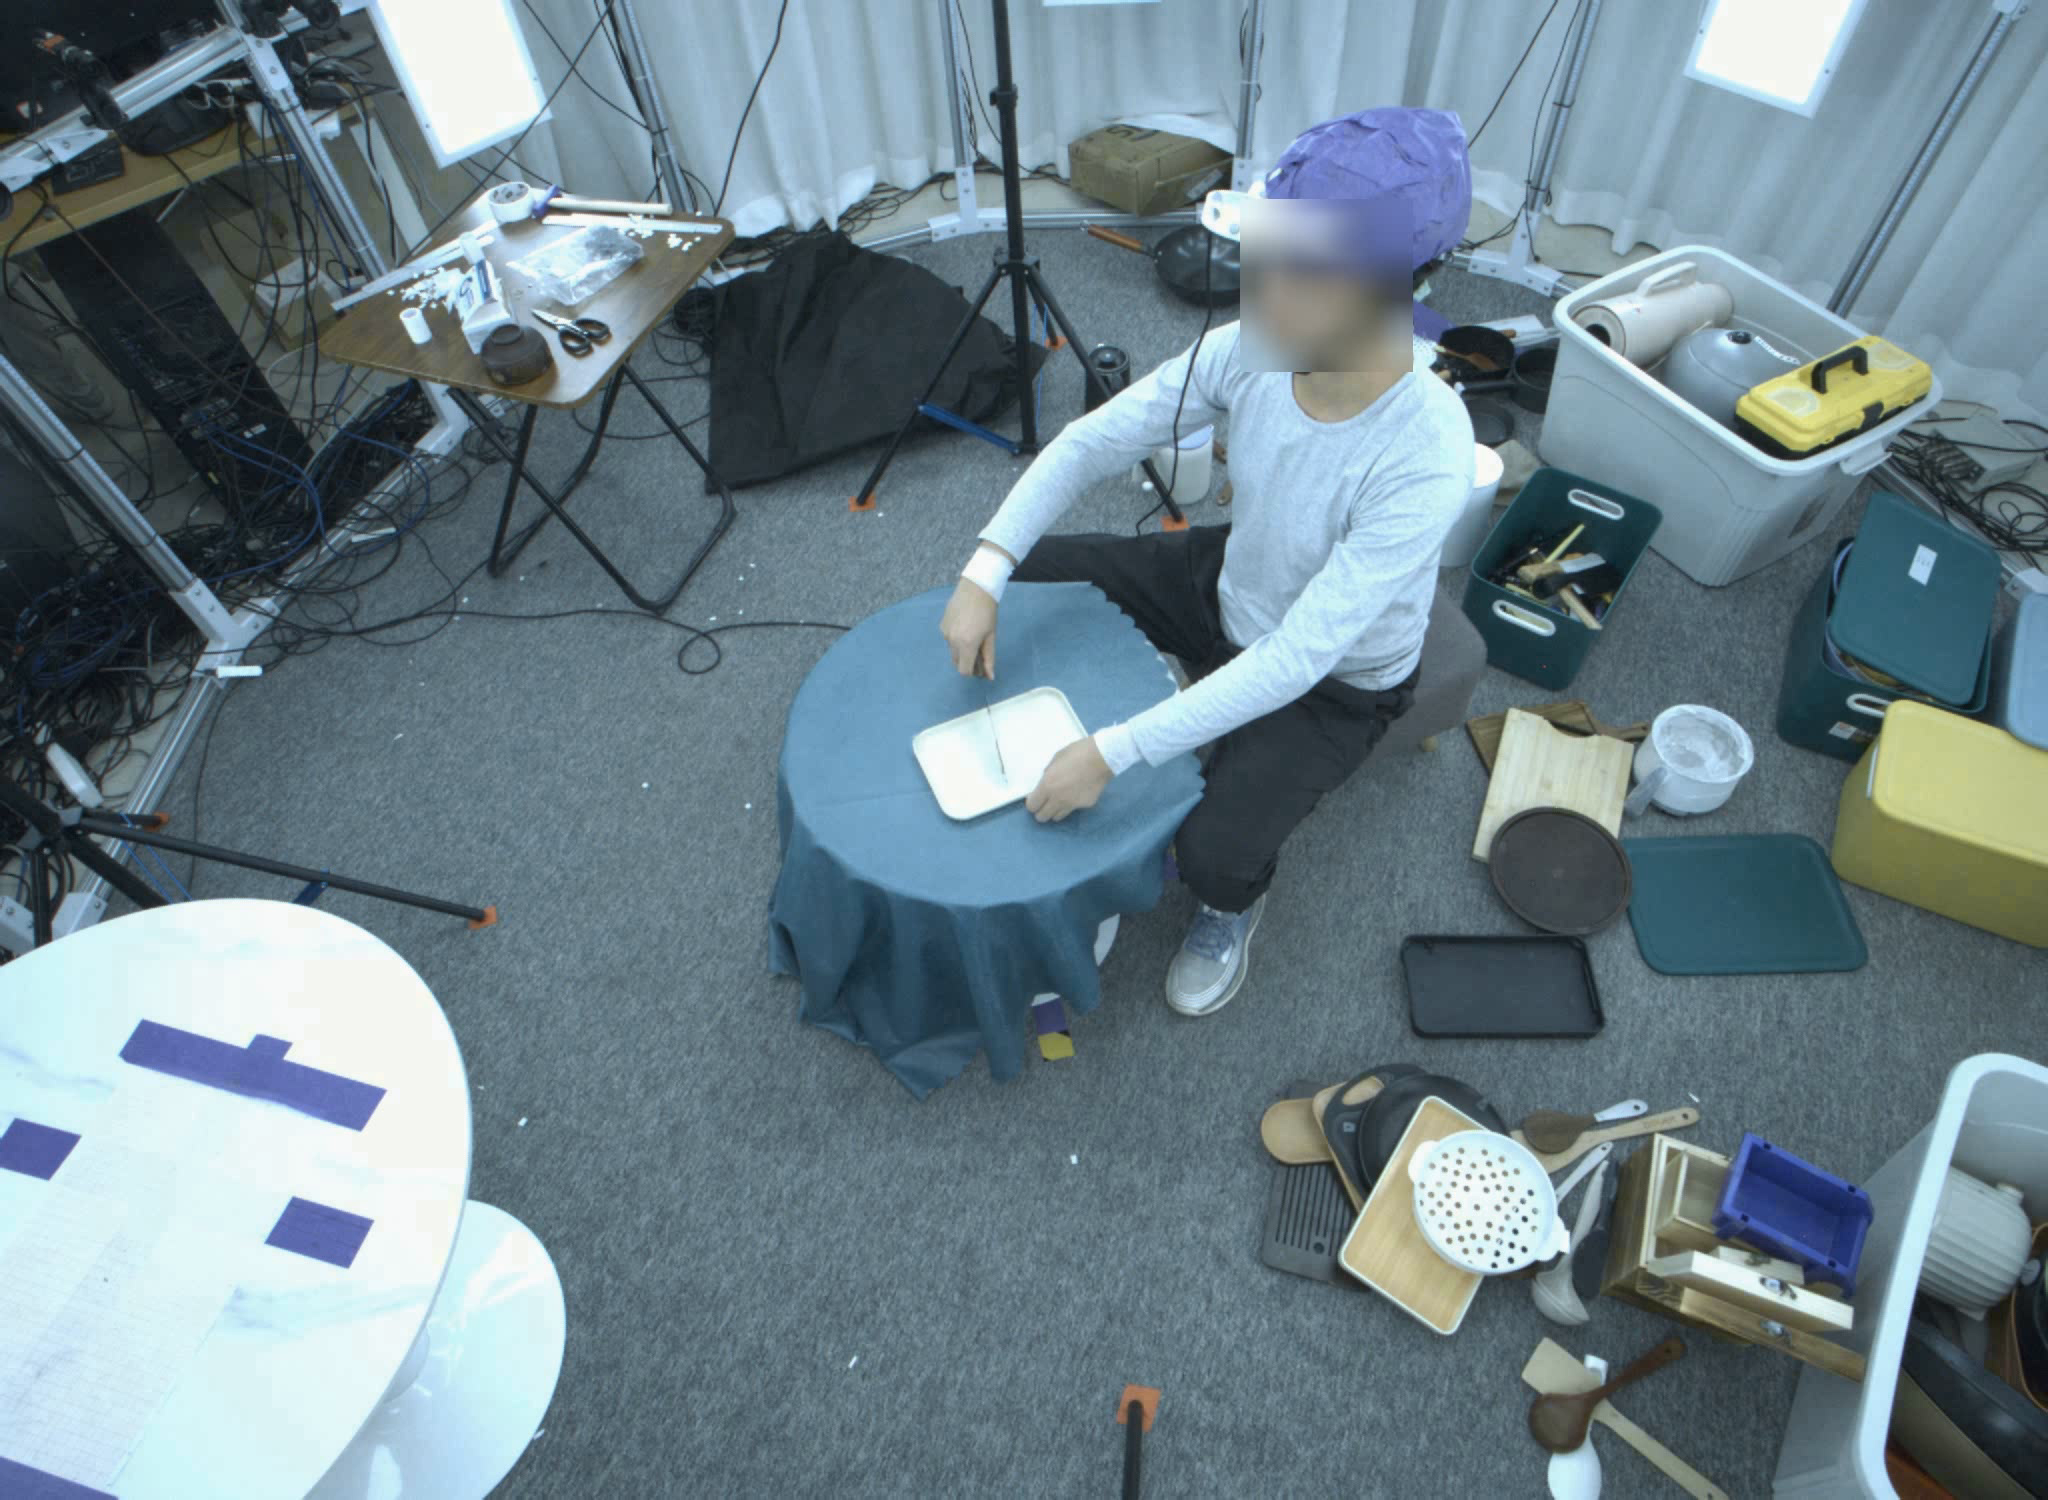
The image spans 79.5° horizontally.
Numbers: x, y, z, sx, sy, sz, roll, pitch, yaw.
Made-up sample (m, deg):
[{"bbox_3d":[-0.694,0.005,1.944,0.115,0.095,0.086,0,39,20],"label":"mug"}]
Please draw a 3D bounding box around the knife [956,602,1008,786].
[{"bbox_3d":[-0.058,-0.083,1.784,0.020,0.050,0.287,-15,75,2],"label":"knife"}]

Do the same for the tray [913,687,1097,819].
[{"bbox_3d":[-0.028,0.003,1.783,0.241,0.017,0.168,-20,57,-13],"label":"tray"}]
